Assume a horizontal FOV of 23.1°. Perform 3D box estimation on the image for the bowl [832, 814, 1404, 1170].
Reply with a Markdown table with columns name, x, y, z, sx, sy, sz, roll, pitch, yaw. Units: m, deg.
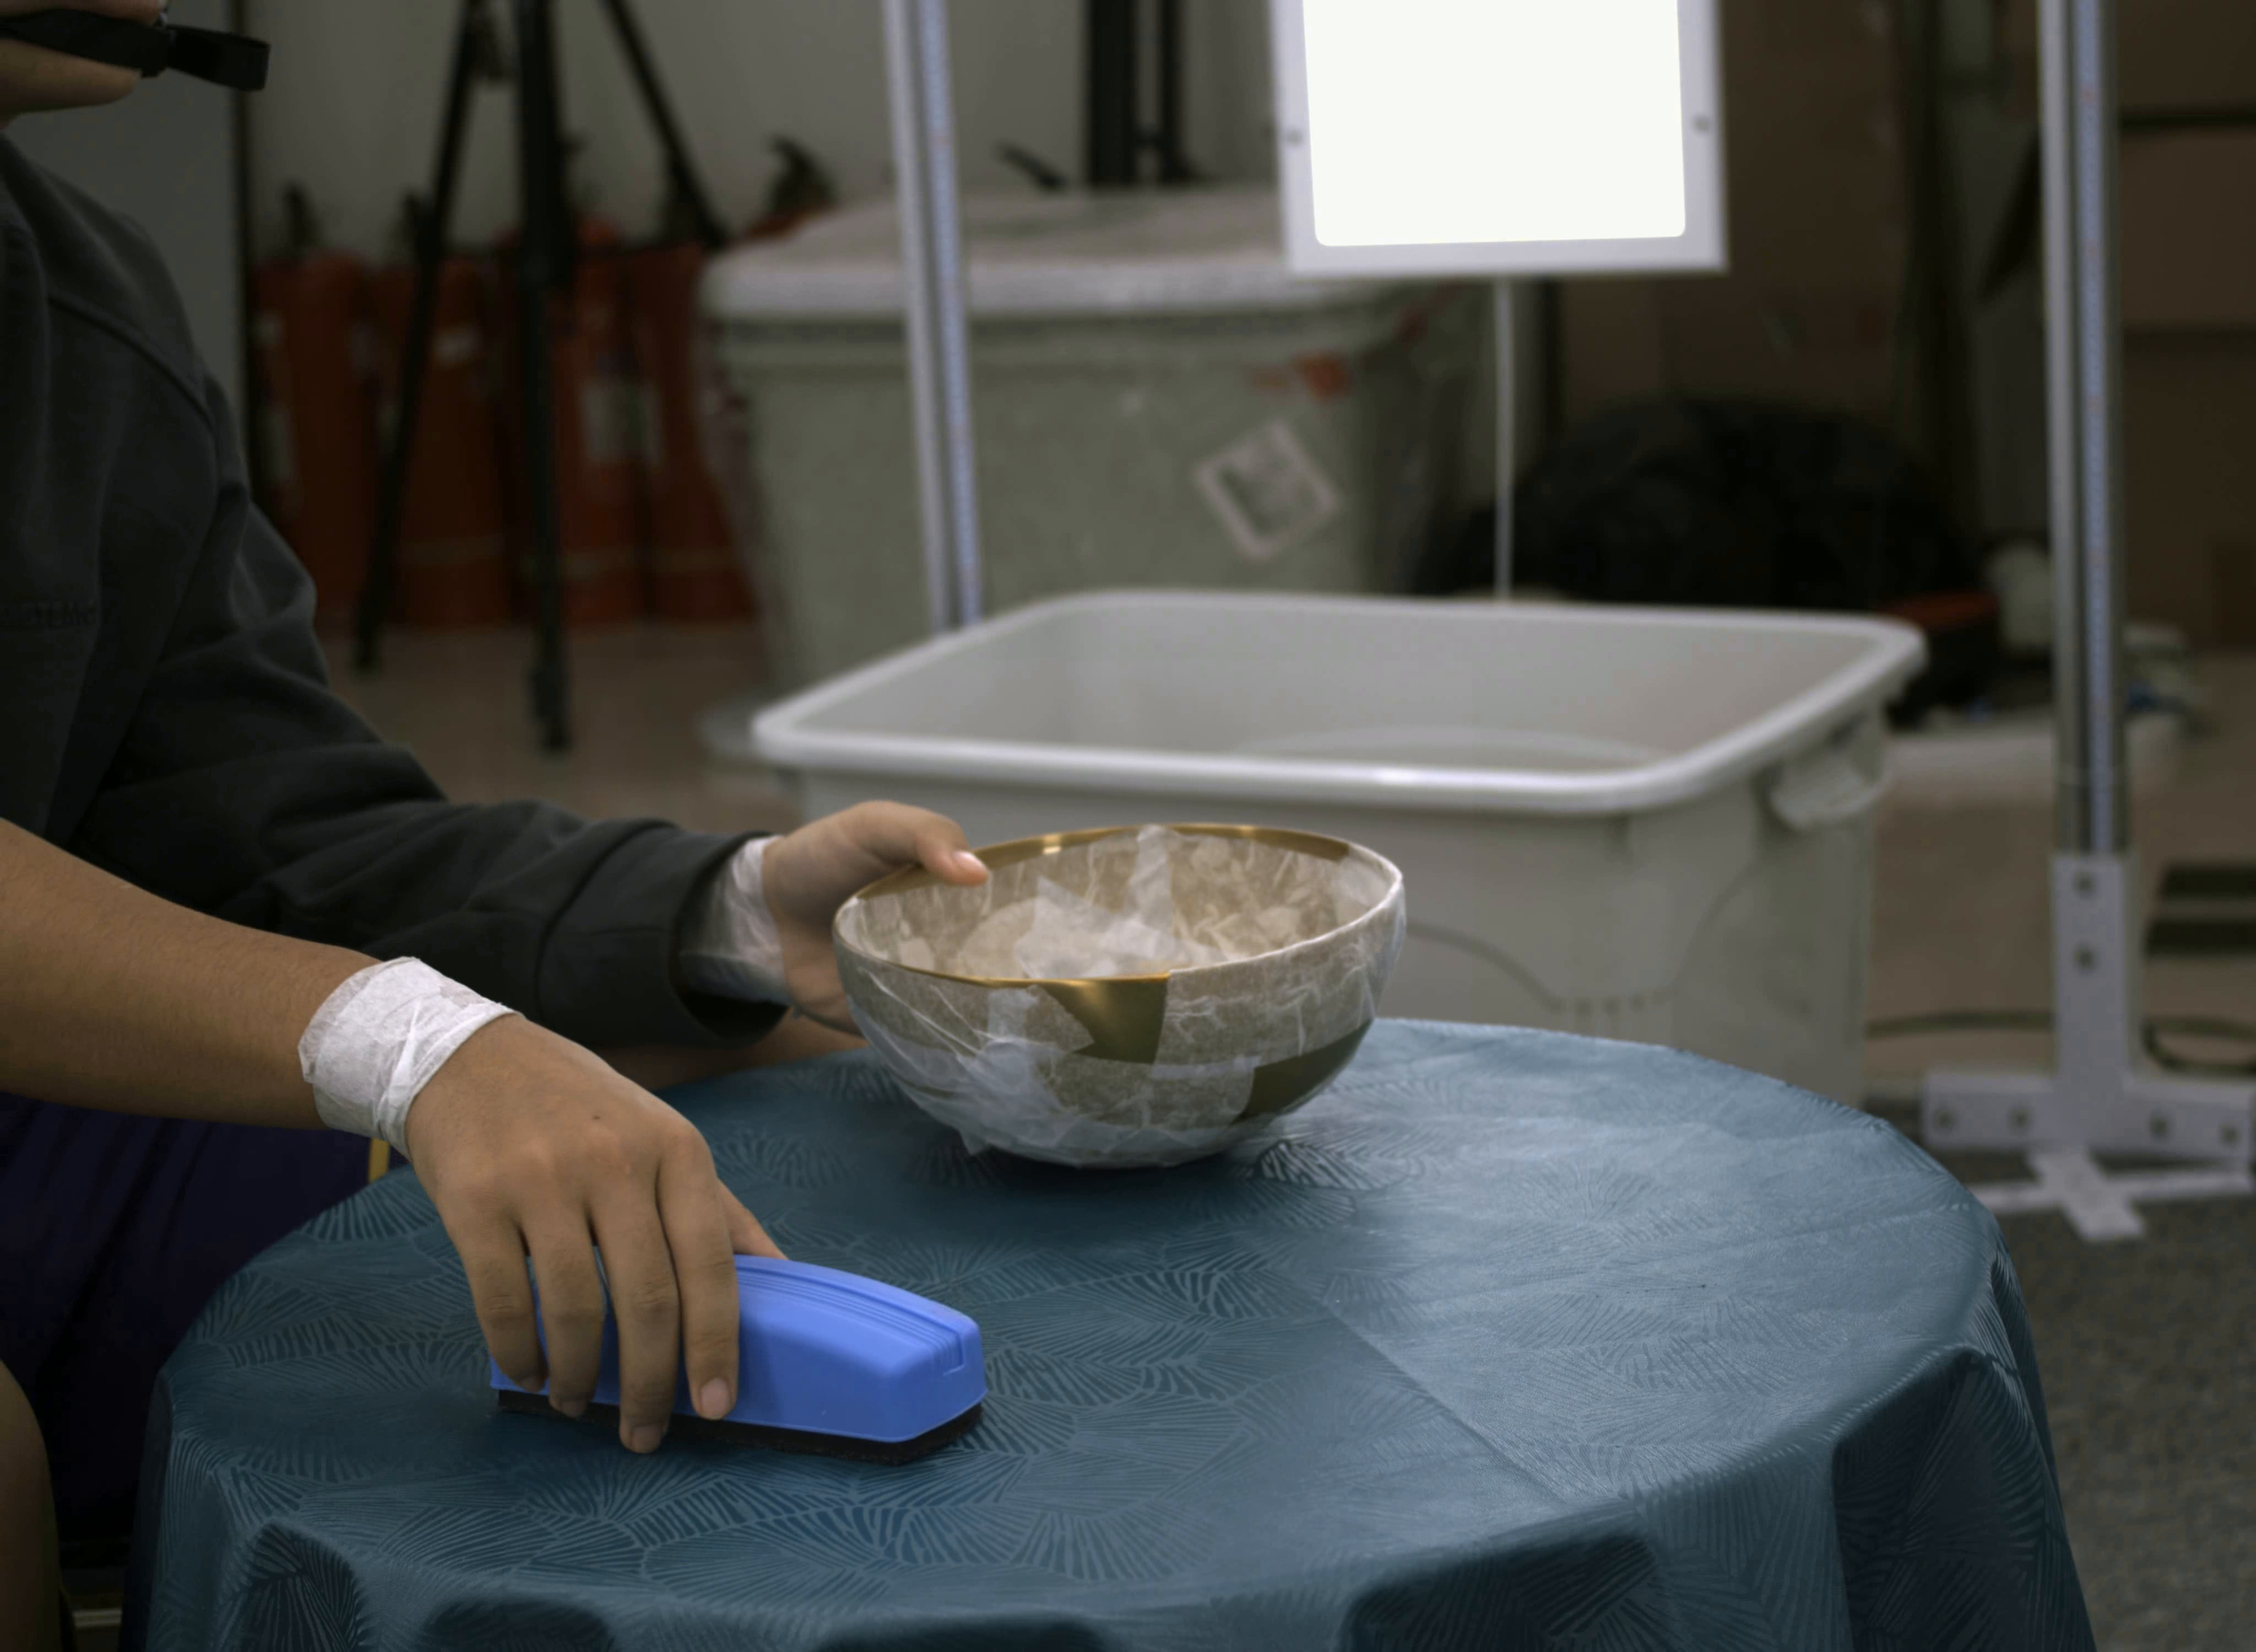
| name | x | y | z | sx | sy | sz | roll | pitch | yaw |
| --- | --- | --- | --- | --- | --- | --- | --- | --- | --- |
| bowl | -0.003 | 0.066 | 1.946 | 0.214 | 0.095 | 0.214 | -5 | 16 | 0 |

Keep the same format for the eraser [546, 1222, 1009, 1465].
| name | x | y | z | sx | sy | sz | roll | pitch | yaw |
| --- | --- | --- | --- | --- | --- | --- | --- | --- | --- |
| eraser | -0.111 | 0.155 | 1.715 | 0.165 | 0.048 | 0.052 | 9 | 25 | 41 |
